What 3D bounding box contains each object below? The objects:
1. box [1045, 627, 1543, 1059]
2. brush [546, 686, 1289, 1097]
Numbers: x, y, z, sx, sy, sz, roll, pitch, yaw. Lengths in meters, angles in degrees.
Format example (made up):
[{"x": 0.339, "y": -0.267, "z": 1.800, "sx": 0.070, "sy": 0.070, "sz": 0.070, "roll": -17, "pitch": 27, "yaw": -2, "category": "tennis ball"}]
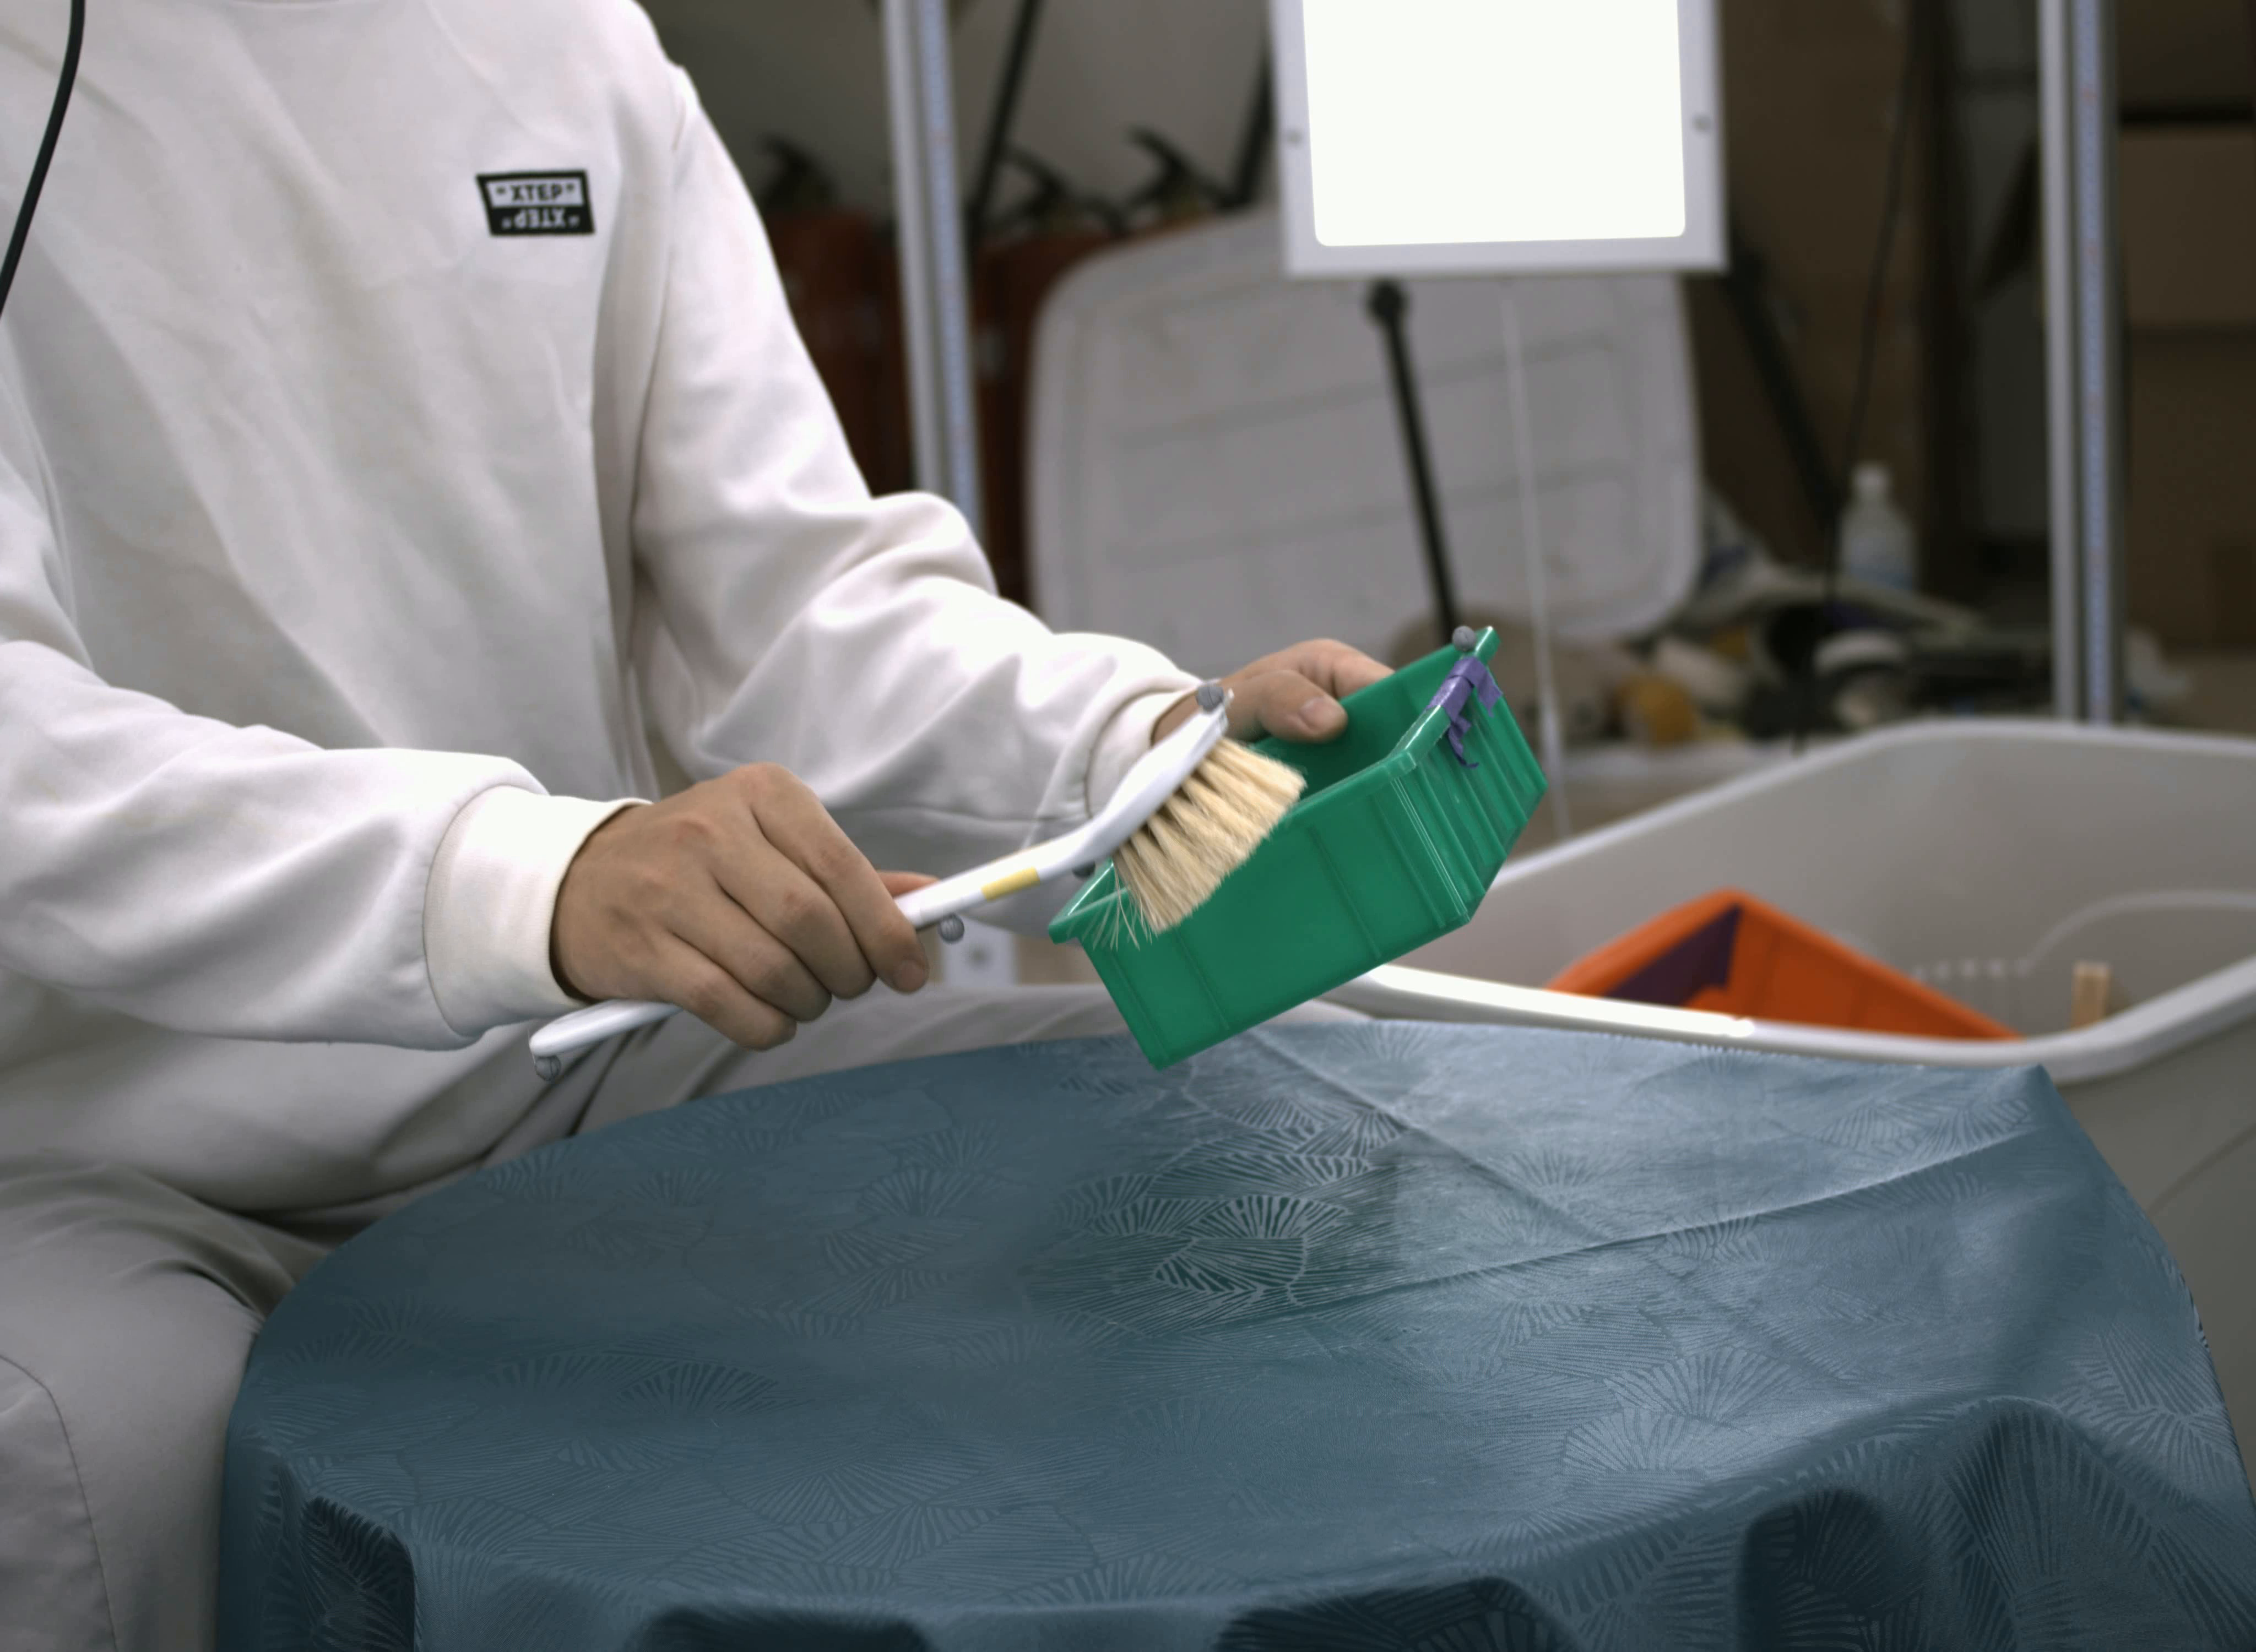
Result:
[{"x": 0.064, "y": 0.006, "z": 1.862, "sx": 0.140, "sy": 0.065, "sz": 0.208, "roll": -26, "pitch": 5, "yaw": 18, "category": "box"}, {"x": -0.064, "y": 0.041, "z": 1.737, "sx": 0.270, "sy": 0.056, "sz": 0.067, "roll": -31, "pitch": -7, "yaw": 18, "category": "brush"}]
